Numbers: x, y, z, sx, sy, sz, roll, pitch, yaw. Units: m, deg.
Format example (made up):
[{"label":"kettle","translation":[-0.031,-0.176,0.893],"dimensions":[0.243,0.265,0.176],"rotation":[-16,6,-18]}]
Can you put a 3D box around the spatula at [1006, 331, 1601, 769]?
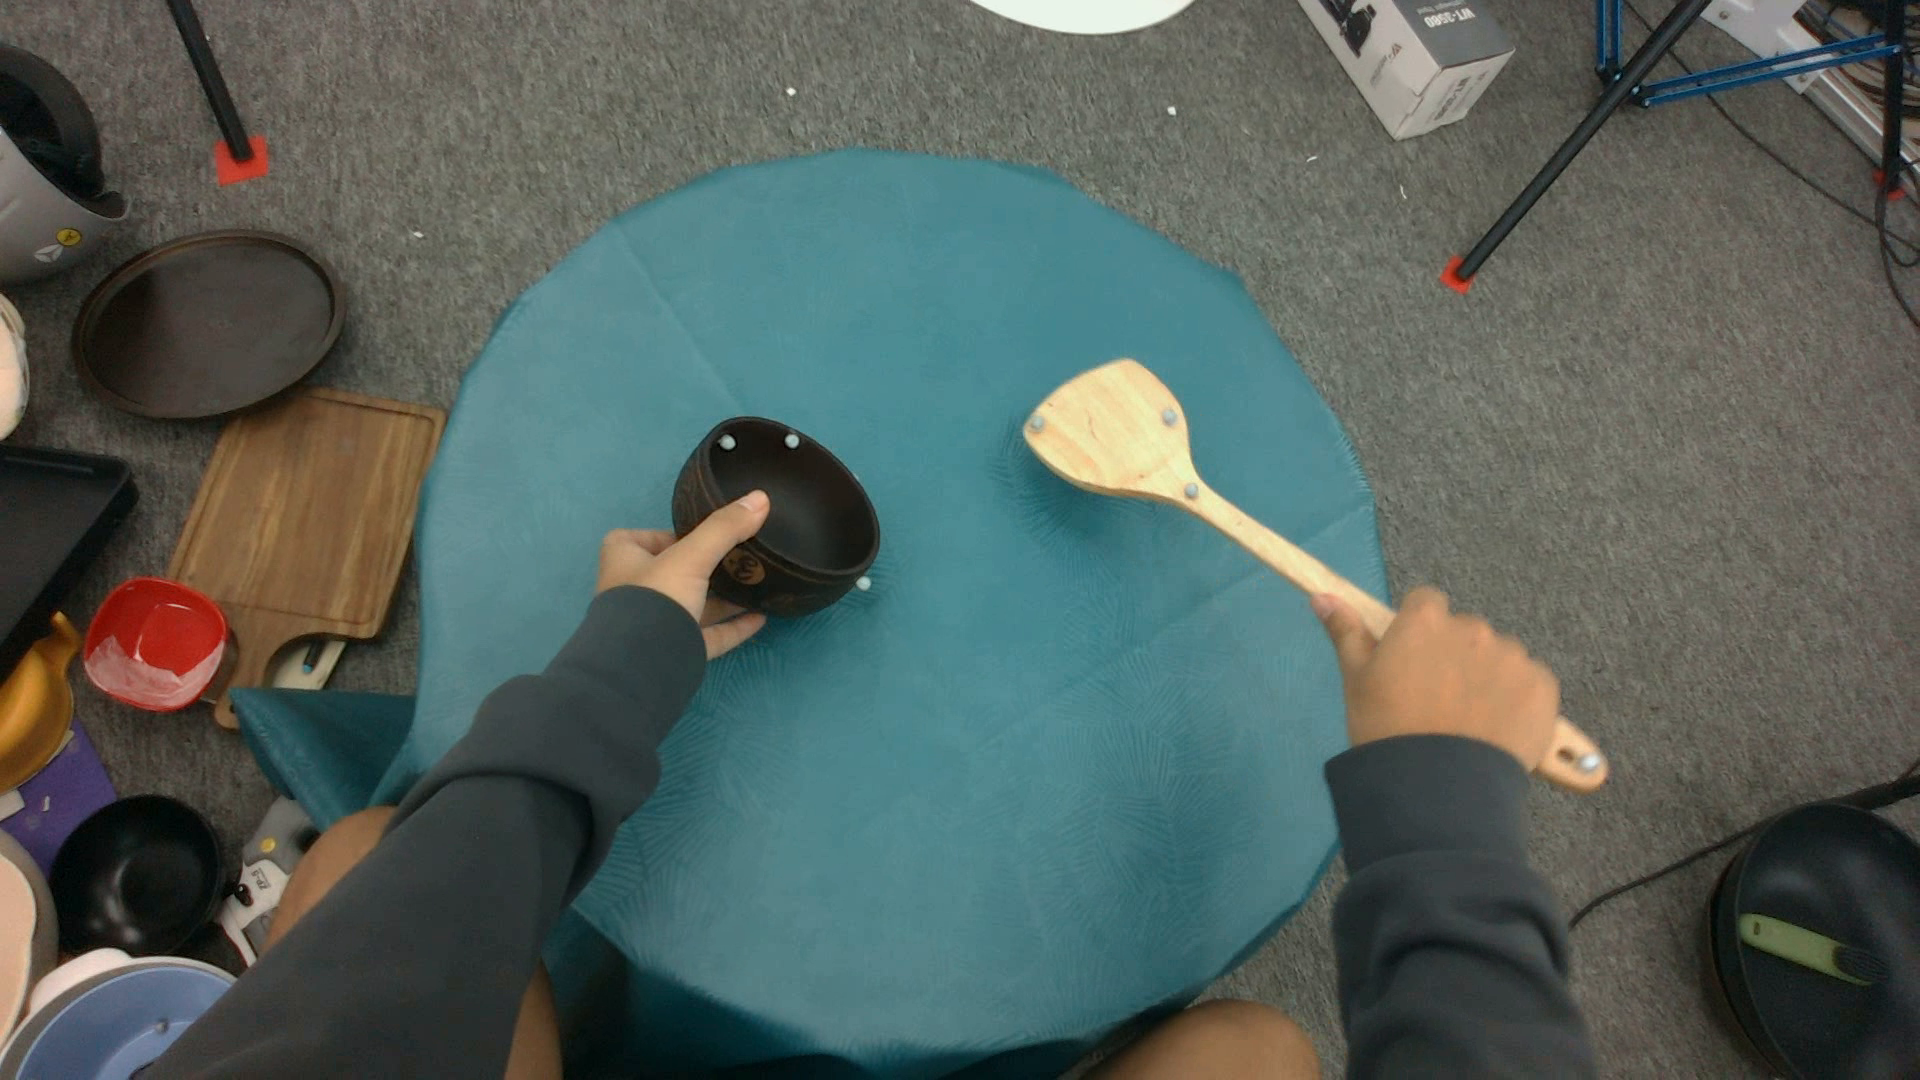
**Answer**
[{"label":"spatula","translation":[0.176,-0.004,0.752],"dimensions":[0.096,0.018,0.391],"rotation":[-41,53,-14]}]

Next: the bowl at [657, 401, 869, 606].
[{"label":"bowl","translation":[-0.117,-0.012,0.772],"dimensions":[0.118,0.069,0.118],"rotation":[31,33,-23]}]
